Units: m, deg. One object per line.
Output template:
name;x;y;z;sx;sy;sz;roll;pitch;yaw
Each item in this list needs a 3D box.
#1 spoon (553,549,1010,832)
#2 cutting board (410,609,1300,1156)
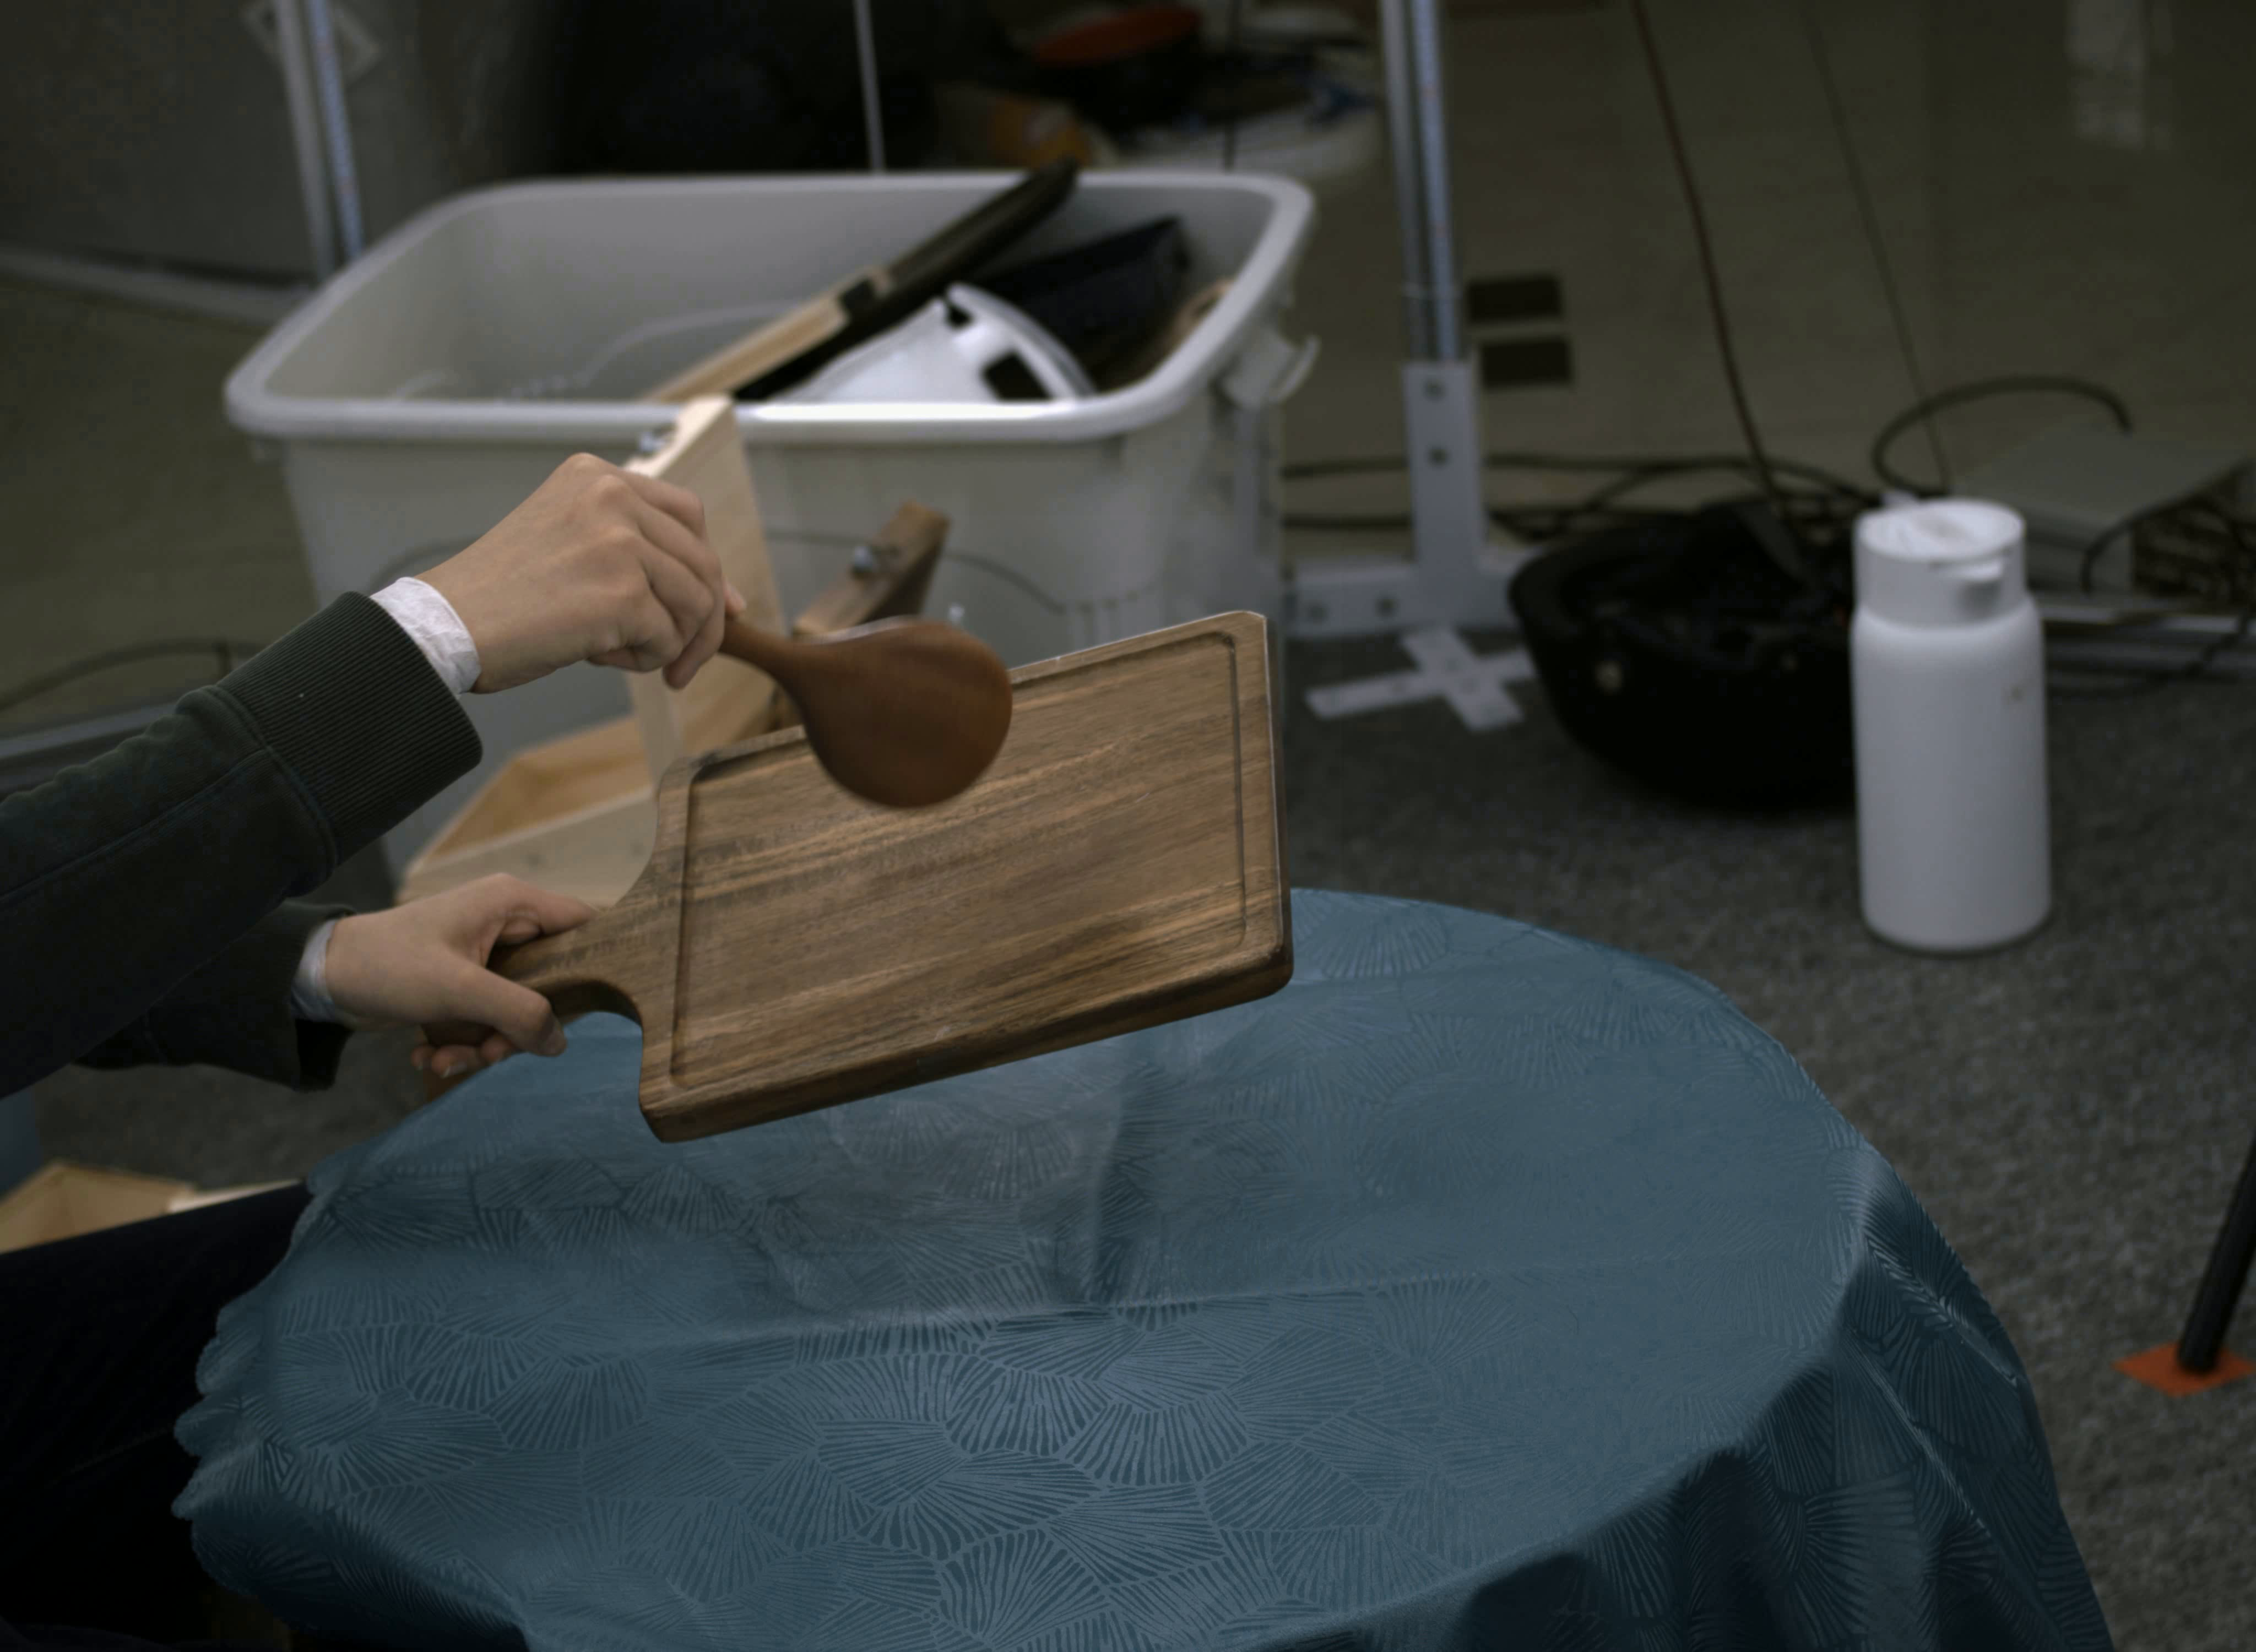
spoon;-0.122;-0.050;2.007;0.217;0.076;0.017;26;15;-42
cutting board;-0.108;0.031;2.147;0.352;0.023;0.197;-15;44;13
